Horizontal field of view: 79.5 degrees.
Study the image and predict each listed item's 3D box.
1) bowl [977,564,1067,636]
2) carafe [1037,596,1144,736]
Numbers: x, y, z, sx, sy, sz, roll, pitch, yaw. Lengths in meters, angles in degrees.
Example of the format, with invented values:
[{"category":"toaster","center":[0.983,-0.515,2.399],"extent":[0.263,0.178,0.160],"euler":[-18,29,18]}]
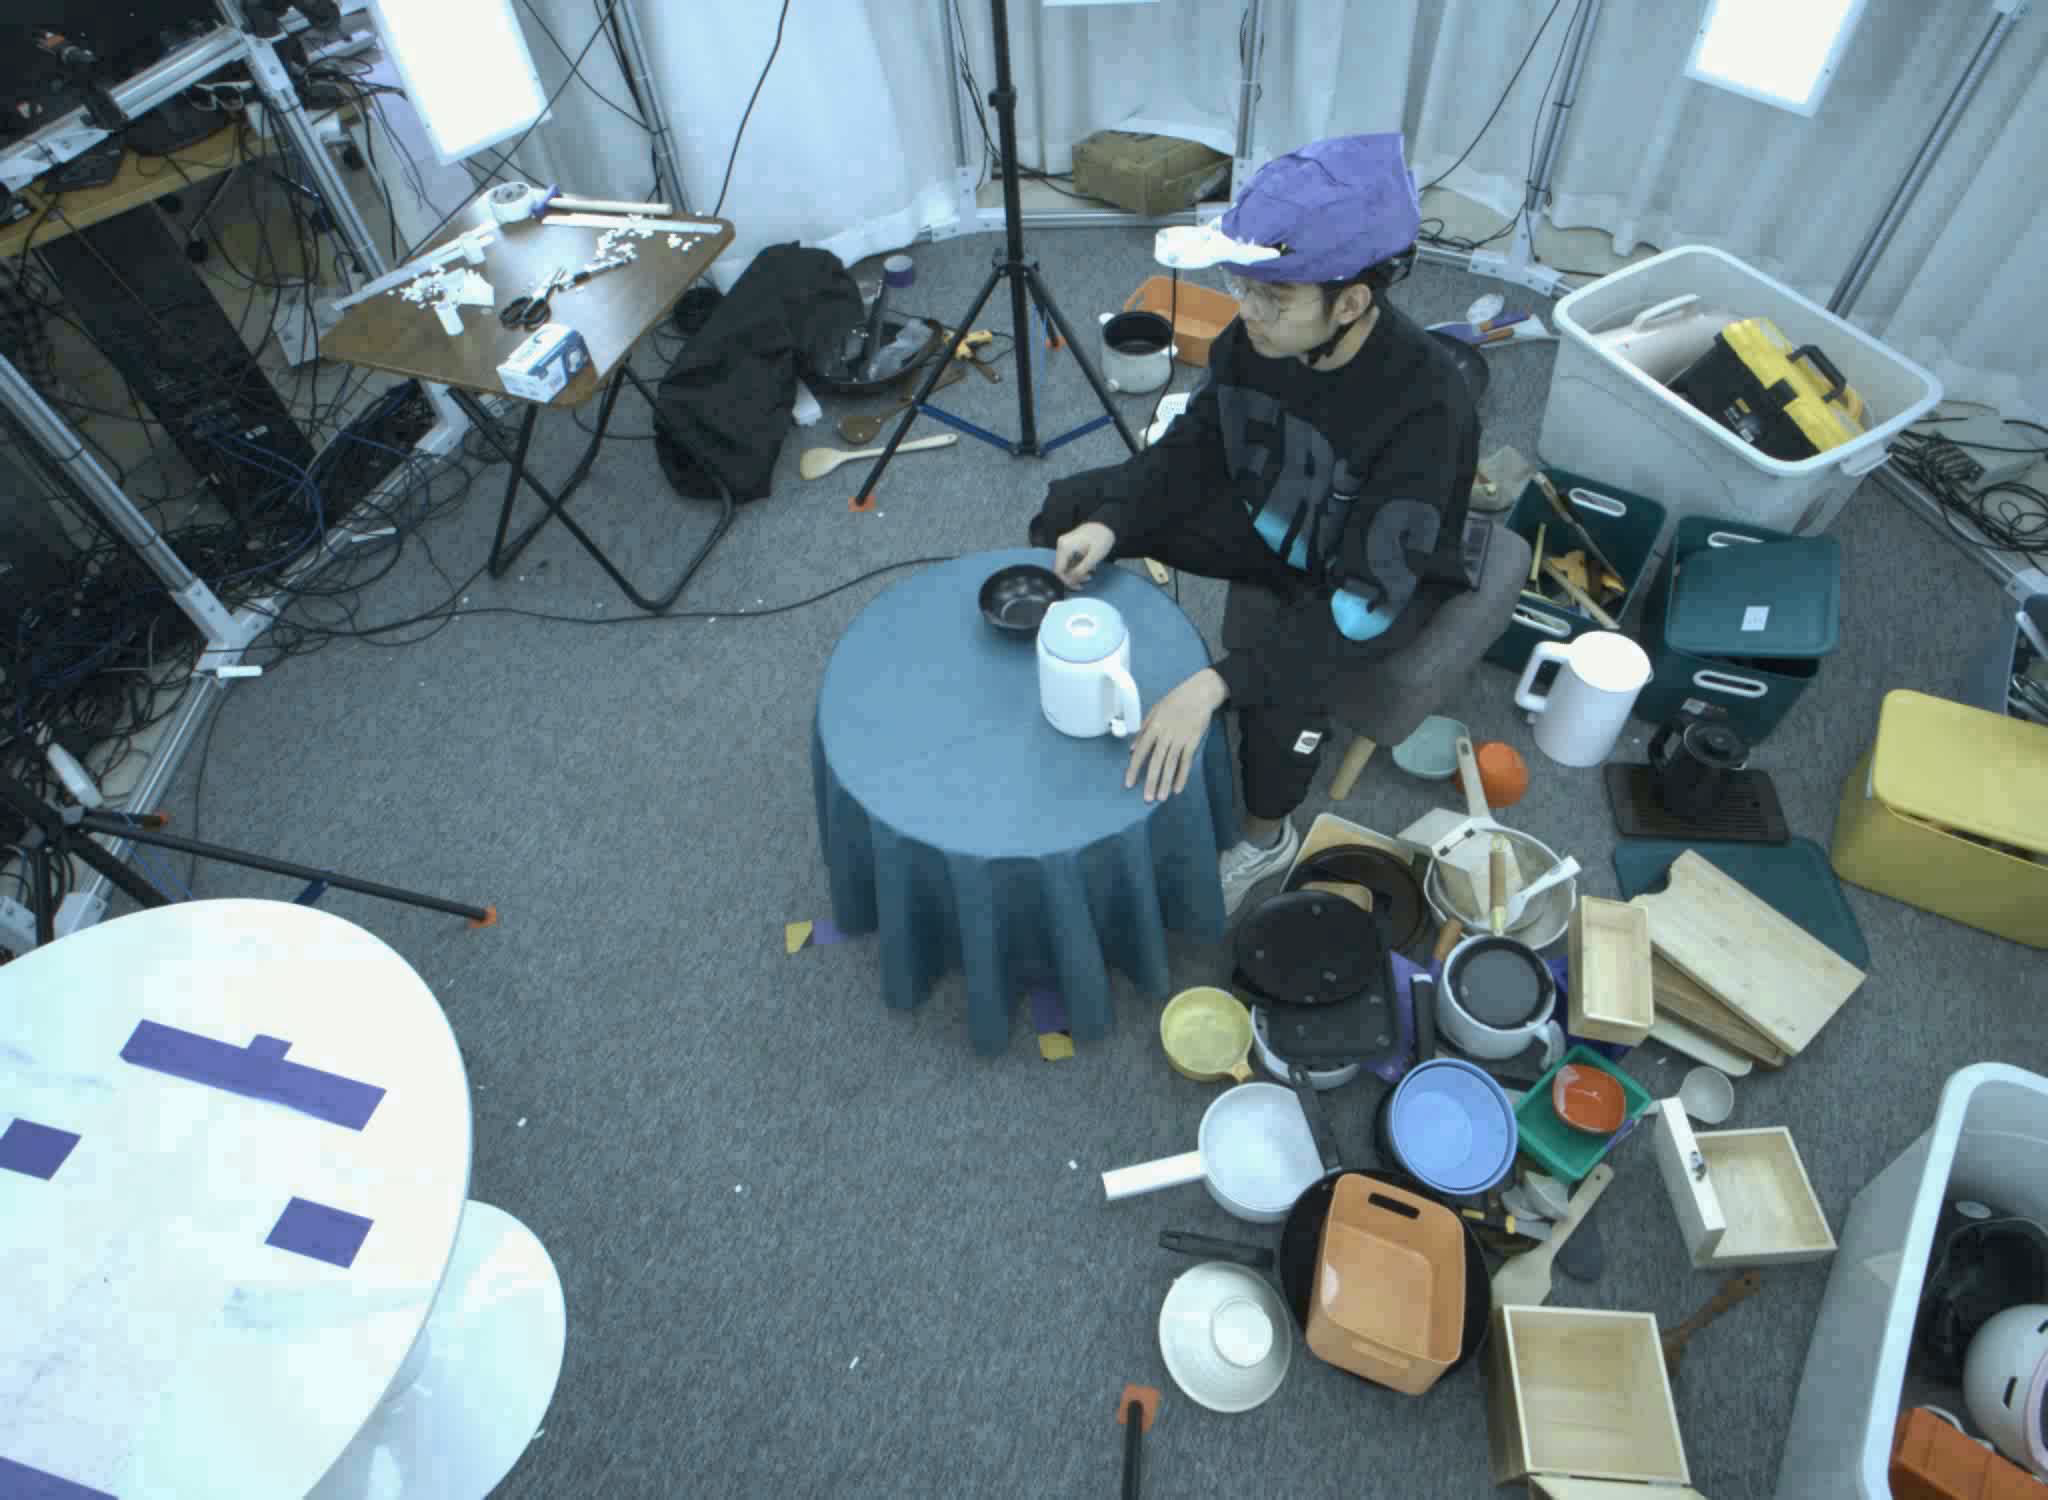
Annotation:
[{"category":"bowl","center":[-0.003,-0.225,1.914],"extent":[0.140,0.050,0.138],"euler":[1,54,0]},{"category":"carafe","center":[0.102,-0.104,1.748],"extent":[0.133,0.184,0.188],"euler":[-36,62,-19]}]
